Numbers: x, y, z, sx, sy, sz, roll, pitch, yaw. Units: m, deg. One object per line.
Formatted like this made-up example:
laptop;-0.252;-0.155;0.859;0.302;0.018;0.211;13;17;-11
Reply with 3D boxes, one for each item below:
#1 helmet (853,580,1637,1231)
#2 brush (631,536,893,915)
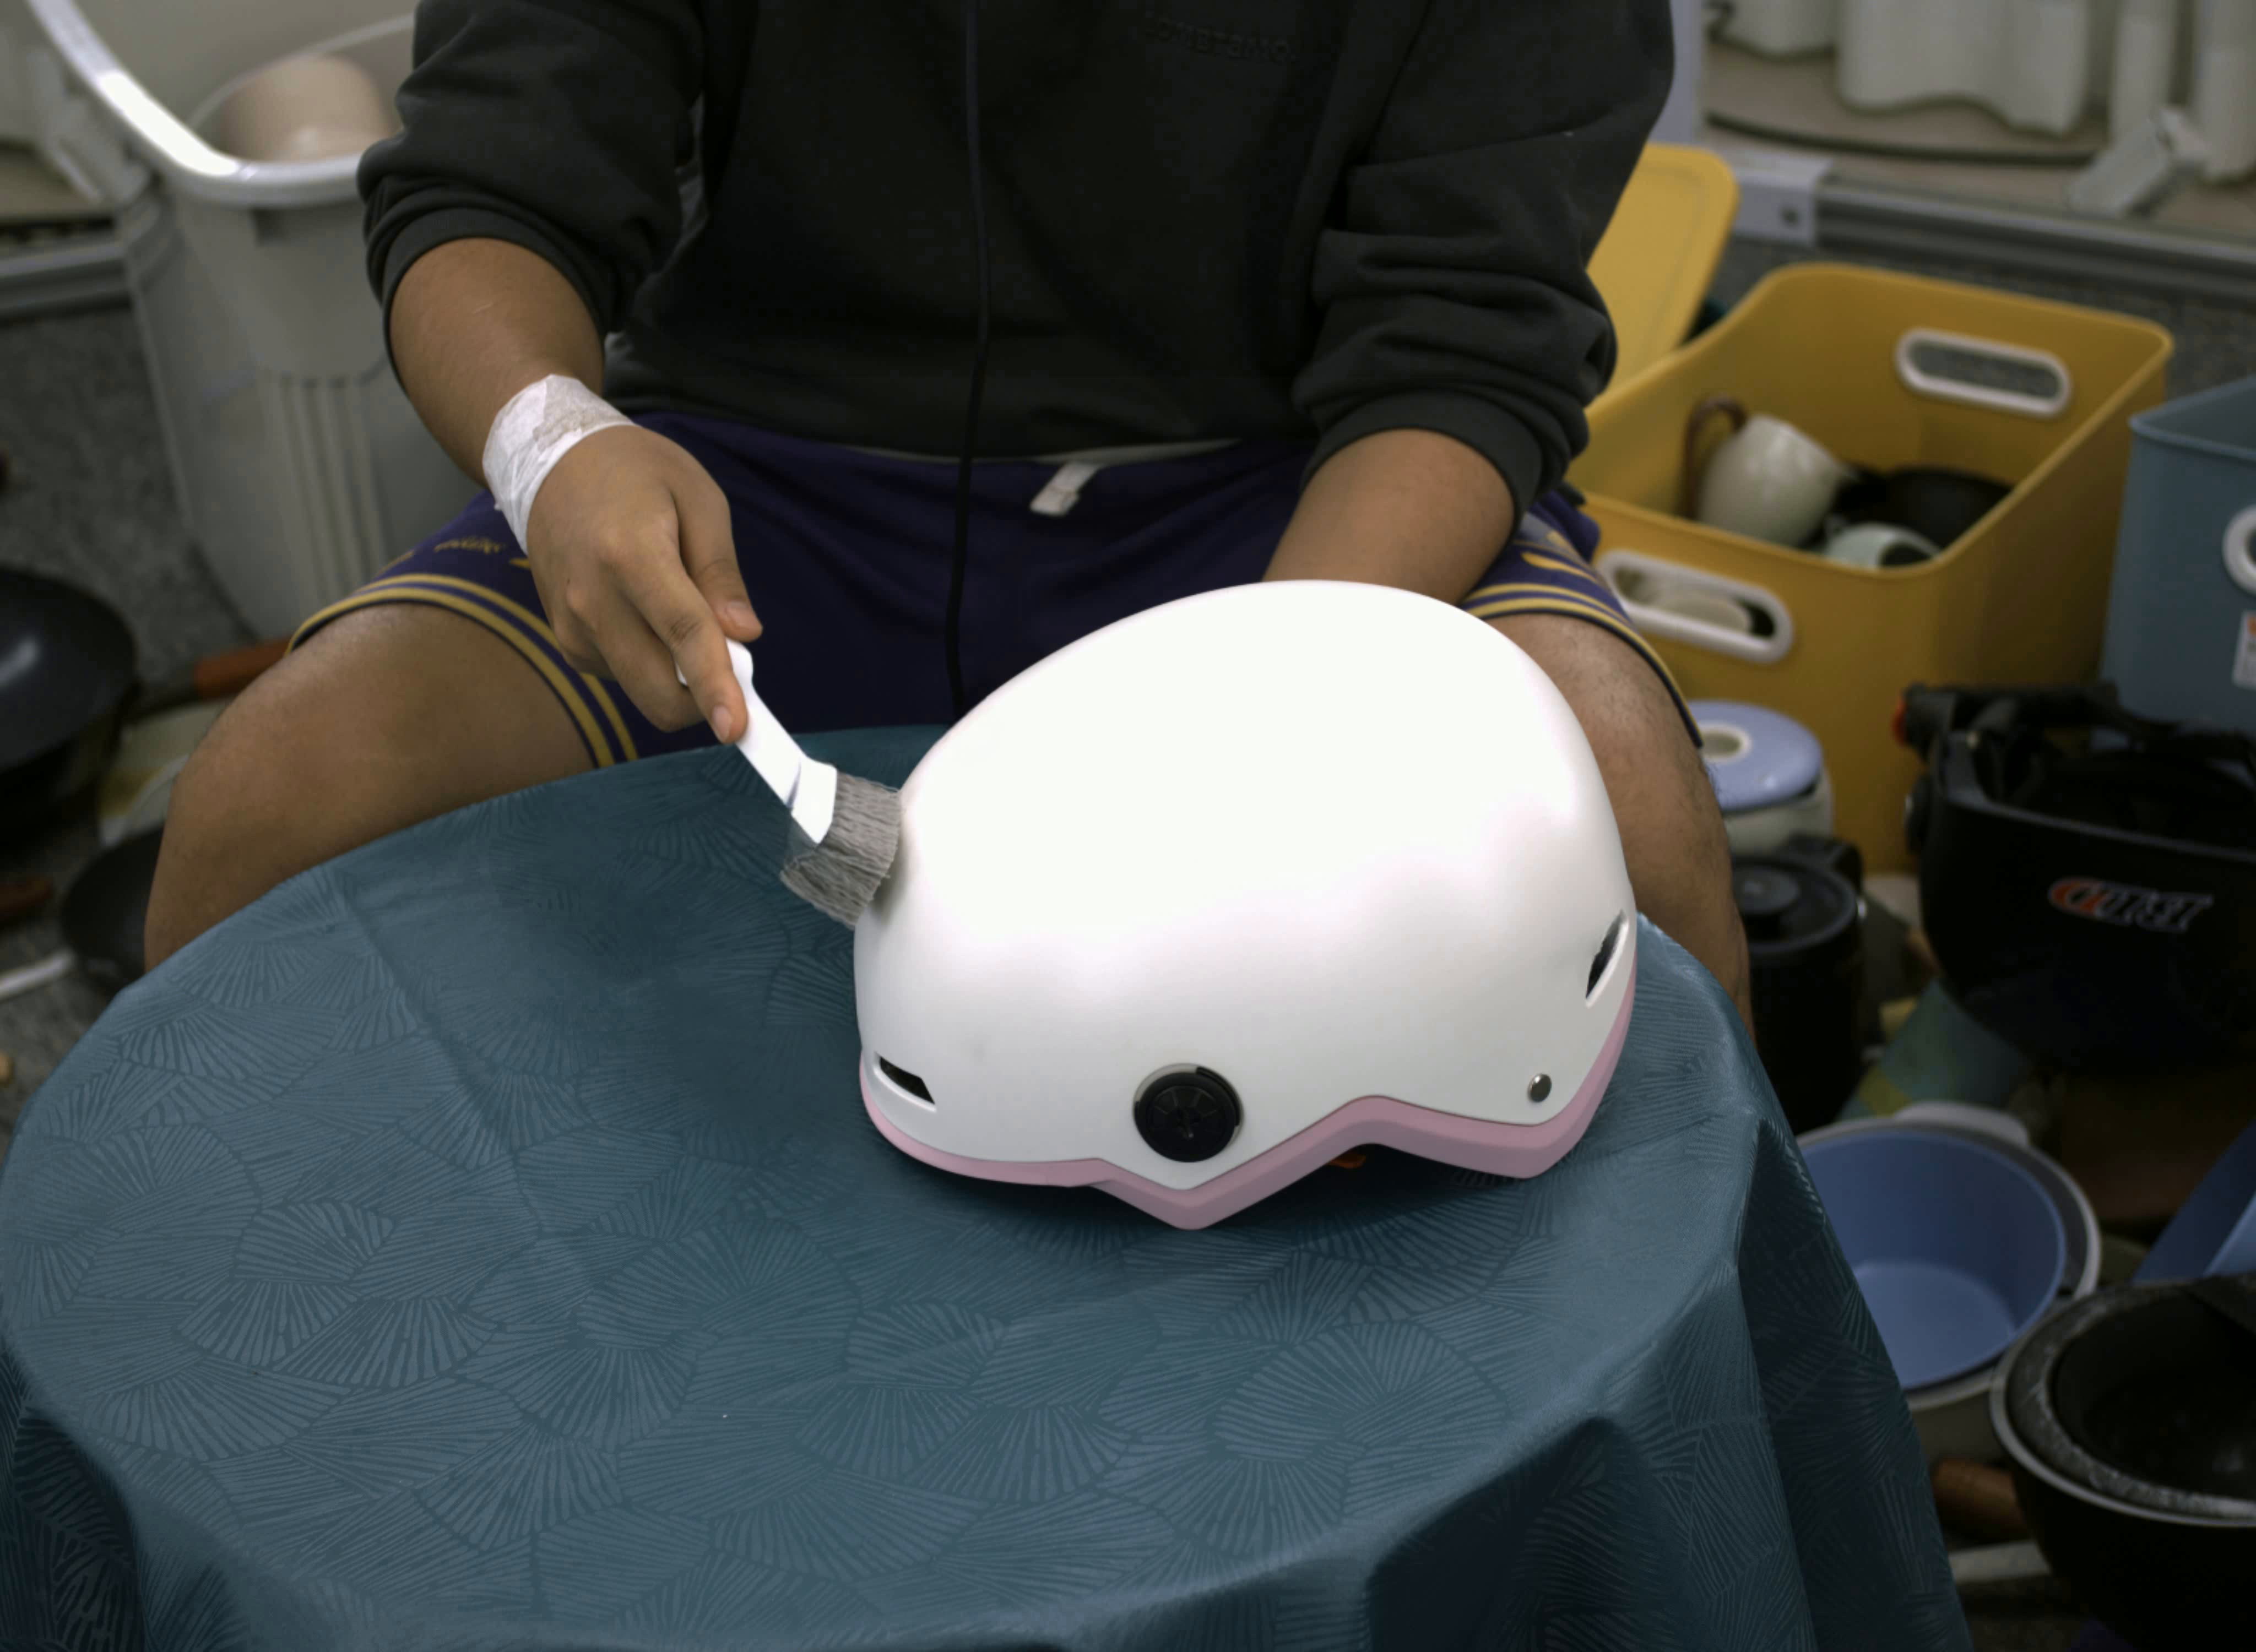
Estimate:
helmet;0.036;0.009;1.892;0.267;0.165;0.241;-3;30;0
brush;-0.125;-0.038;1.954;0.050;0.034;0.246;20;18;-26
